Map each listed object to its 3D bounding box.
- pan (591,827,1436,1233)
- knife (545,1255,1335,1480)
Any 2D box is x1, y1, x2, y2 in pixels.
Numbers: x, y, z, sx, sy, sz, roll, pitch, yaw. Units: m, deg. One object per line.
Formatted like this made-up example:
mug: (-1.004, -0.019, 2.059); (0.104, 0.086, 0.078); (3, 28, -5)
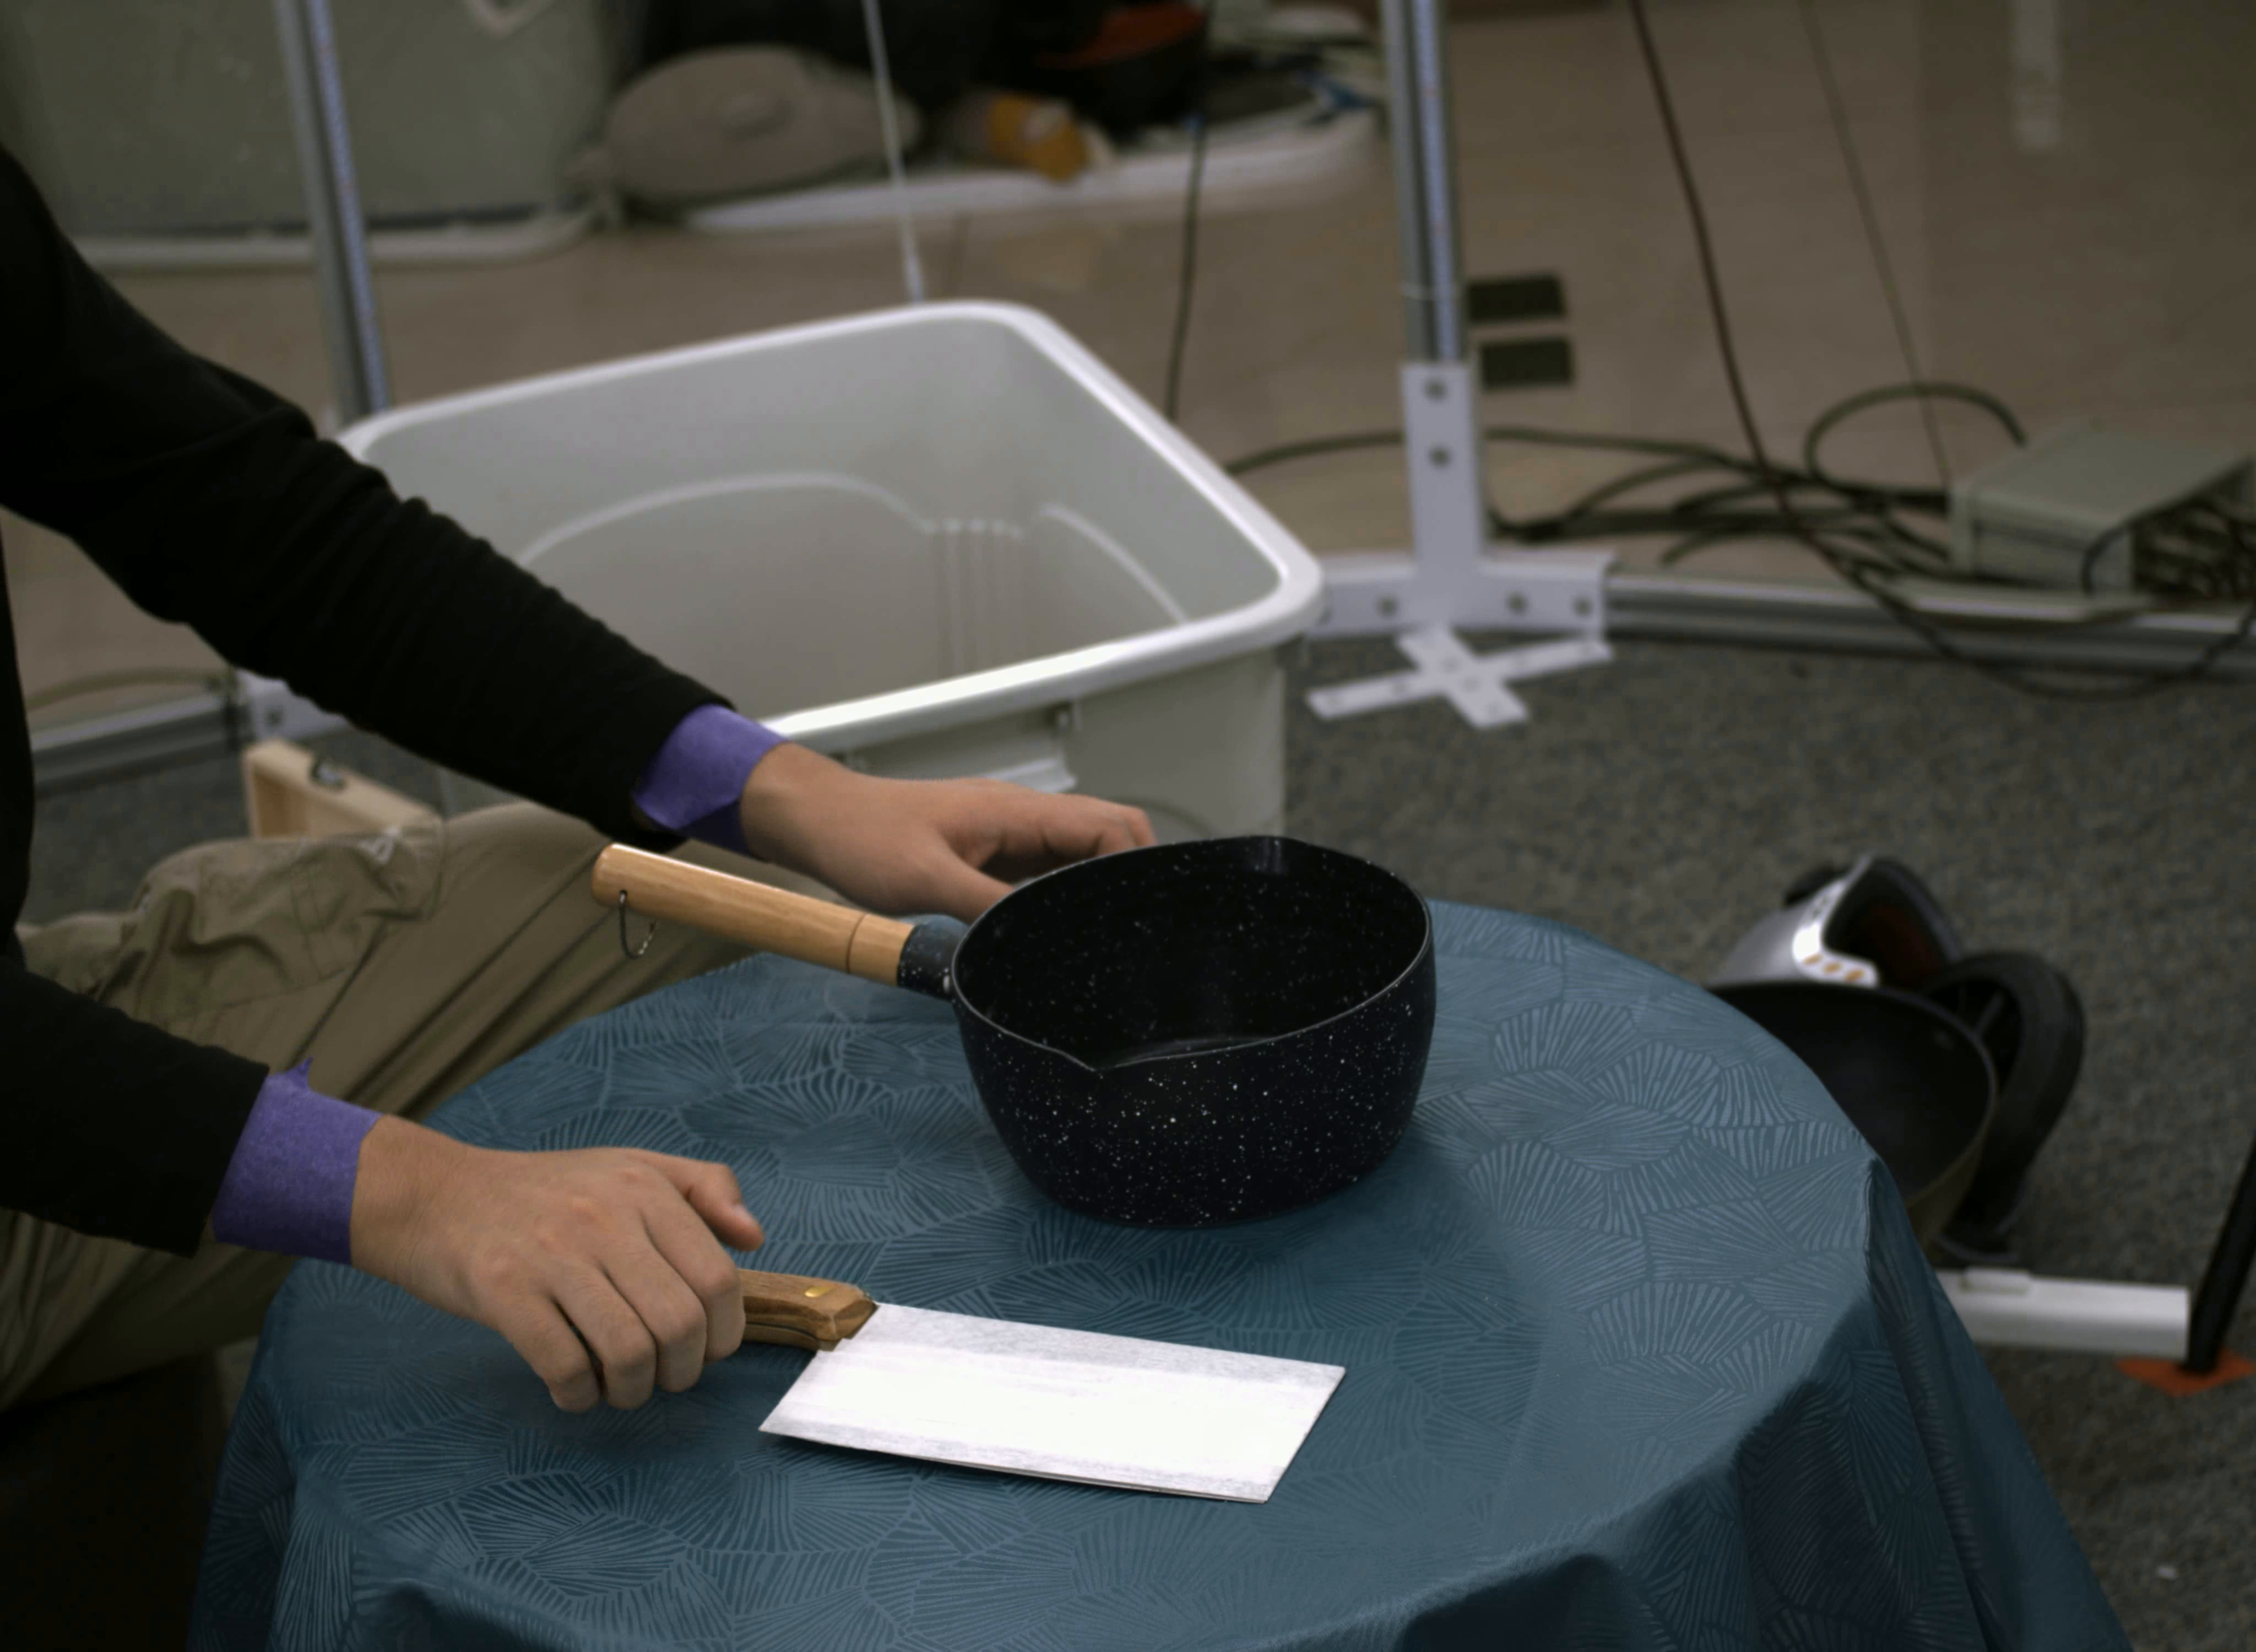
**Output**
pan: (-0.048, 0.068, 2.186); (0.342, 0.110, 0.204); (4, 27, 19)
knife: (-0.079, 0.196, 2.028); (0.305, 0.021, 0.091); (6, 29, 20)
